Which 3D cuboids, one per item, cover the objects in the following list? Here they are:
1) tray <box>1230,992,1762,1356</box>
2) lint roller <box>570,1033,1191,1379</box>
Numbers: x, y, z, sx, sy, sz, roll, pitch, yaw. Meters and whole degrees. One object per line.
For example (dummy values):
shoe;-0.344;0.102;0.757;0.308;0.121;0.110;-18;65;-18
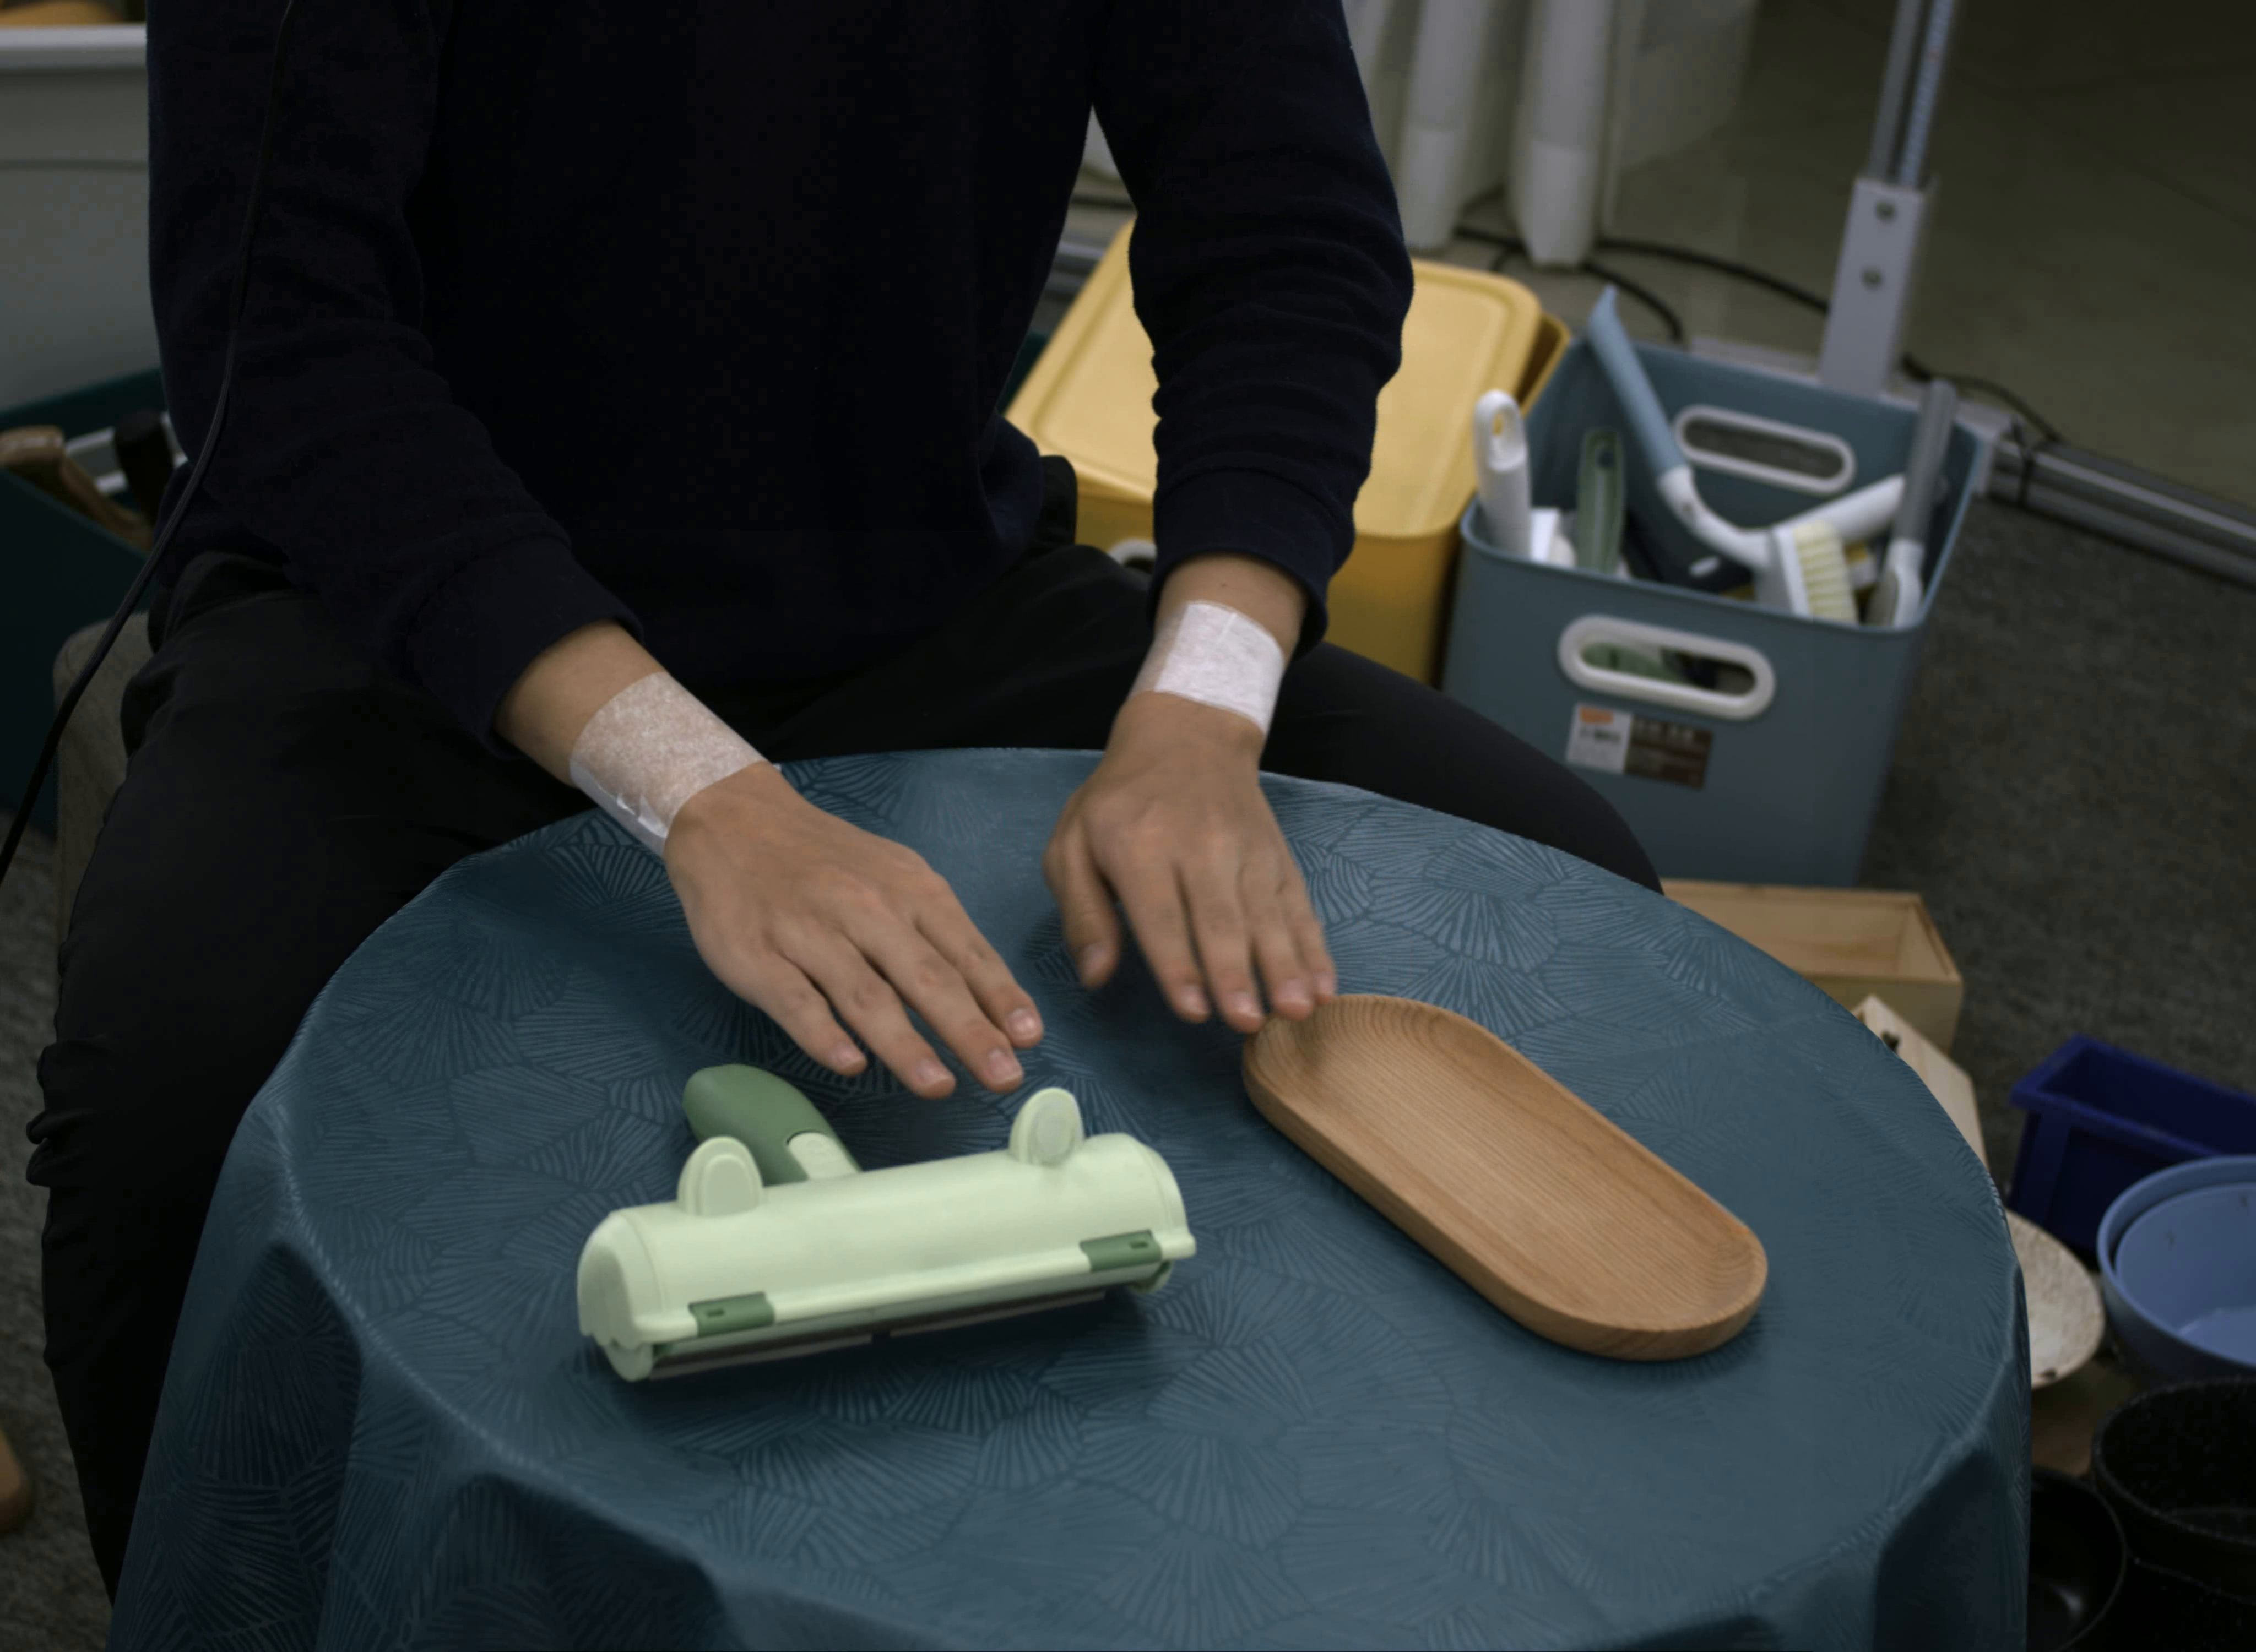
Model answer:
tray;0.124;0.117;1.825;0.101;0.020;0.233;-12;31;-34
lint roller;-0.102;0.099;1.731;0.197;0.082;0.185;-7;36;-27
